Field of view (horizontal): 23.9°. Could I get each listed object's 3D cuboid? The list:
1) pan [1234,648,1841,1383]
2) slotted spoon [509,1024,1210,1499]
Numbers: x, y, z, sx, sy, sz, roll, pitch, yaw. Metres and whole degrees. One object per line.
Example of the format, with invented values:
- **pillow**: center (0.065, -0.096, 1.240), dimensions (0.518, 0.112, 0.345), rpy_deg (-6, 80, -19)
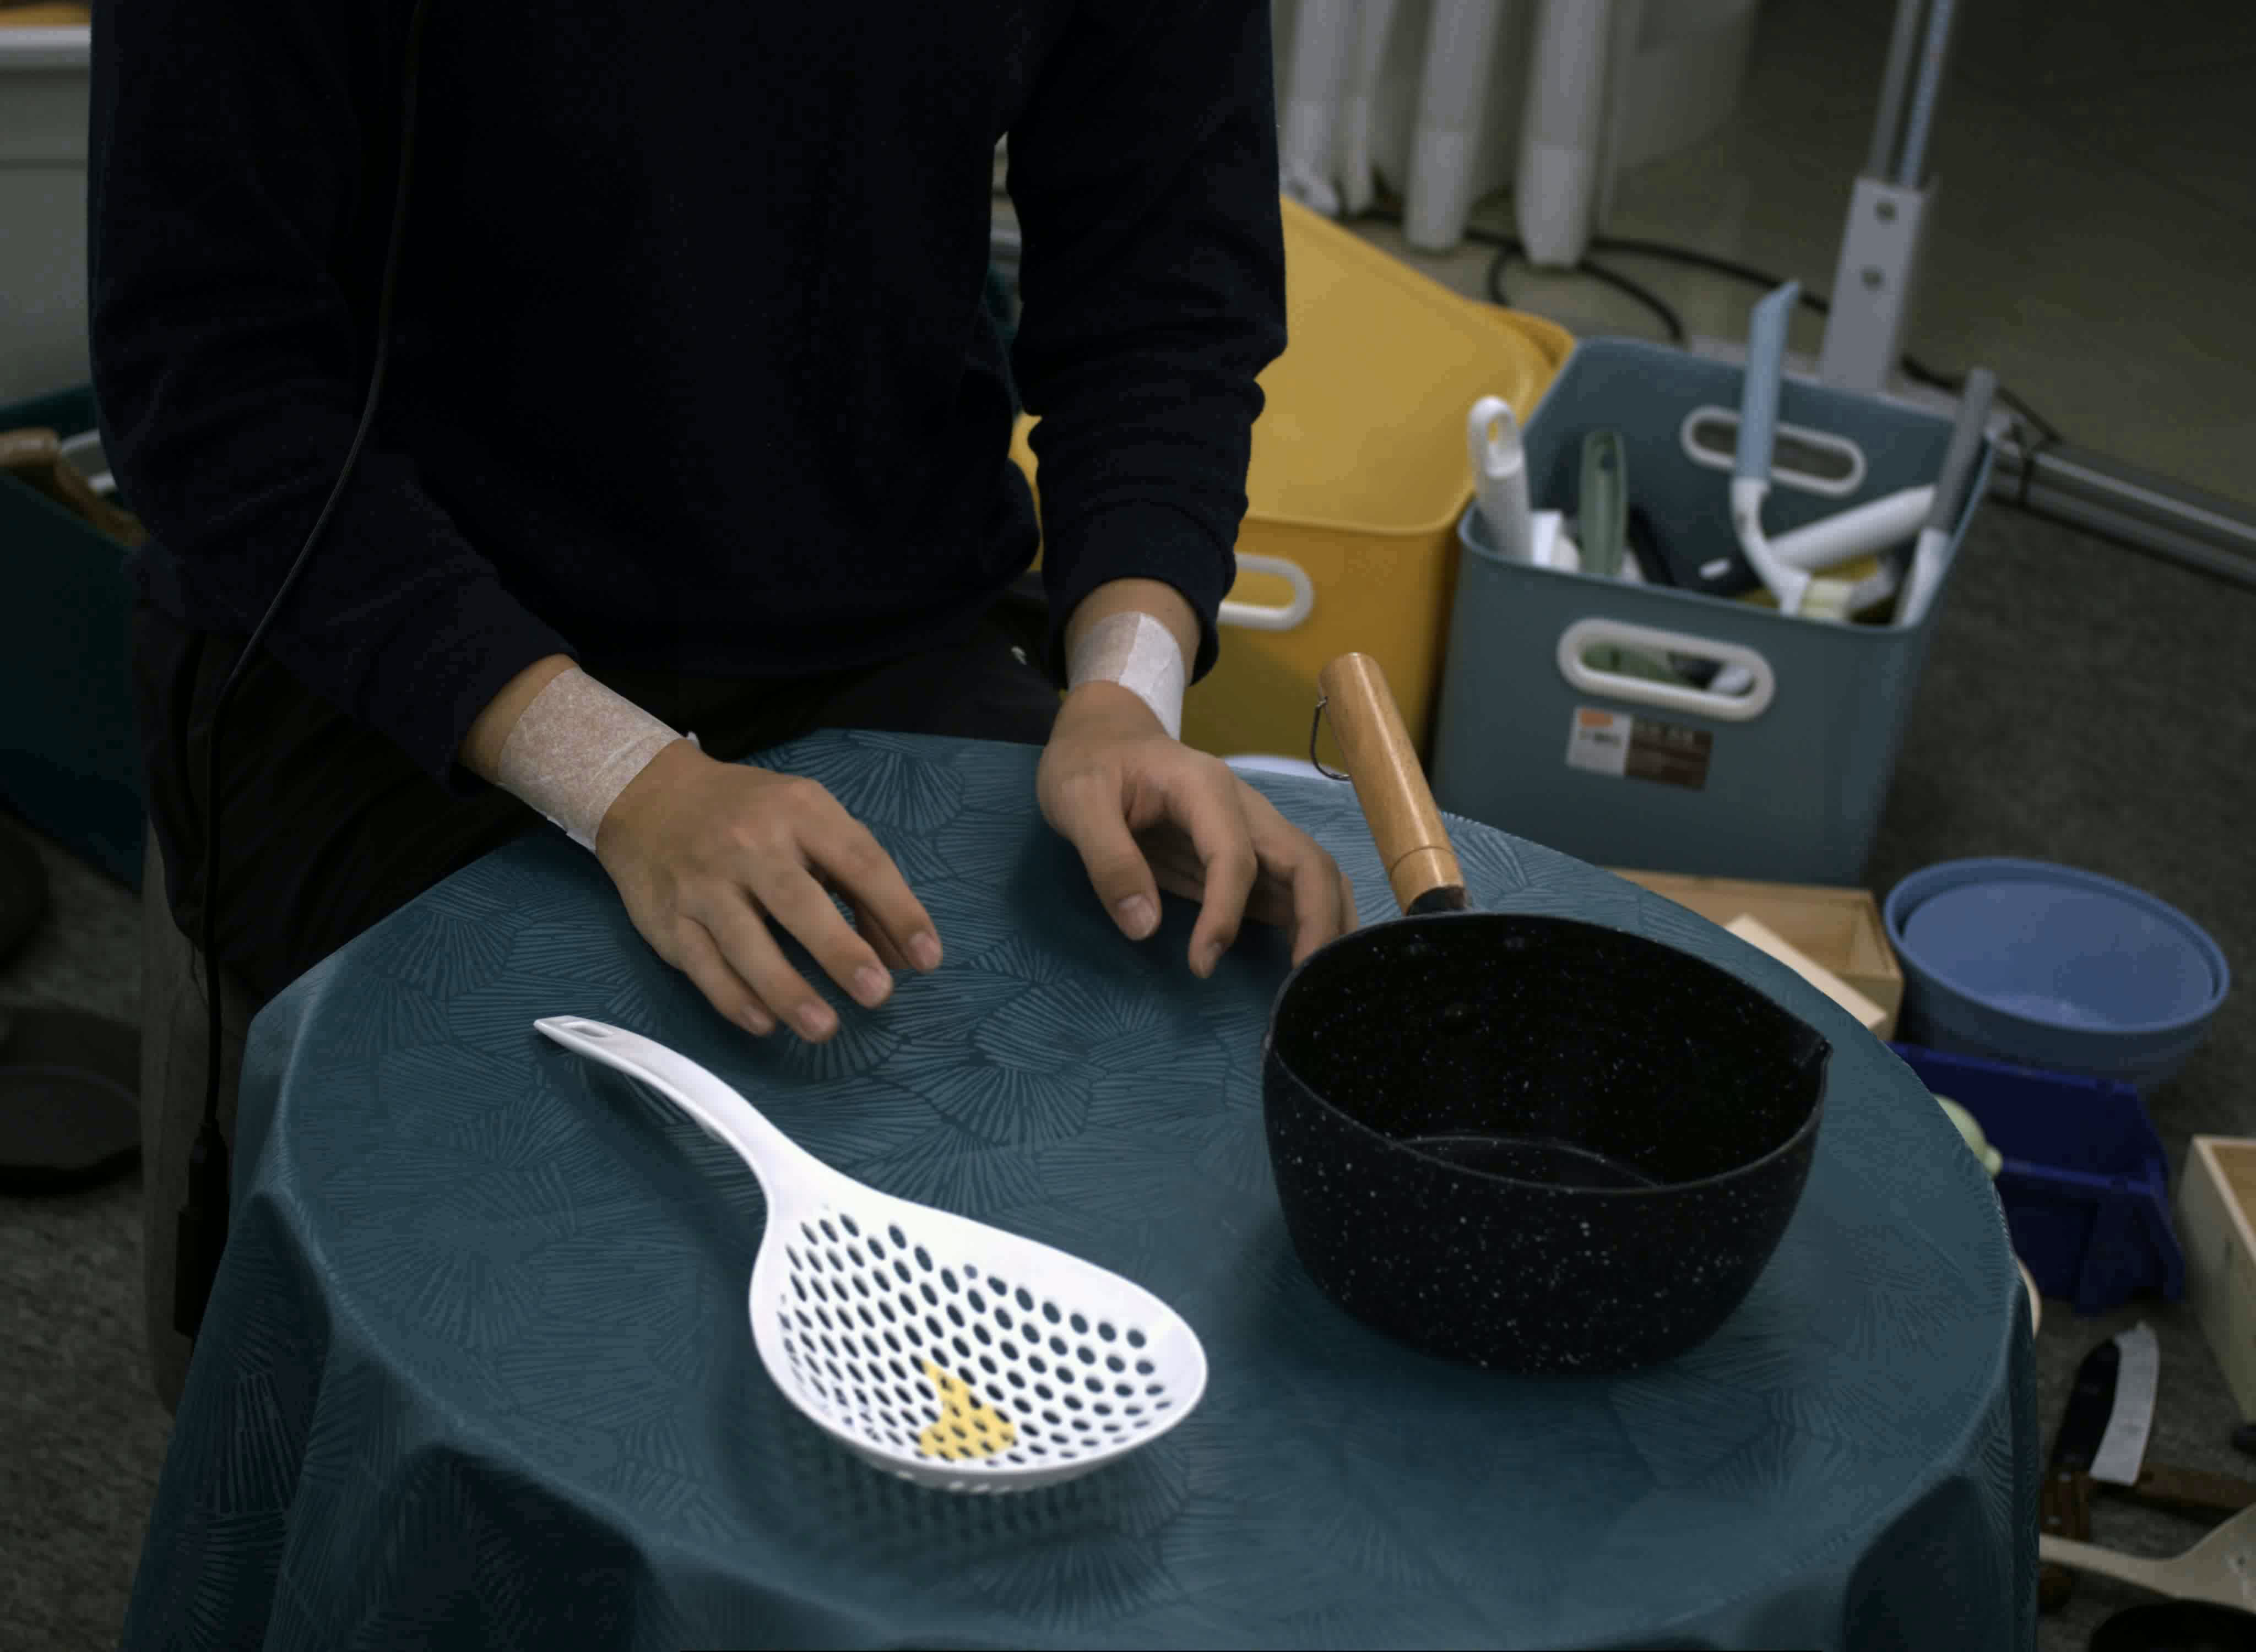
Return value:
- **pan**: center (0.115, 0.062, 1.831), dimensions (0.206, 0.108, 0.346), rpy_deg (-3, 29, -15)
- **slotted spoon**: center (-0.106, 0.128, 1.723), dimensions (0.136, 0.050, 0.351), rpy_deg (-13, 35, -31)
